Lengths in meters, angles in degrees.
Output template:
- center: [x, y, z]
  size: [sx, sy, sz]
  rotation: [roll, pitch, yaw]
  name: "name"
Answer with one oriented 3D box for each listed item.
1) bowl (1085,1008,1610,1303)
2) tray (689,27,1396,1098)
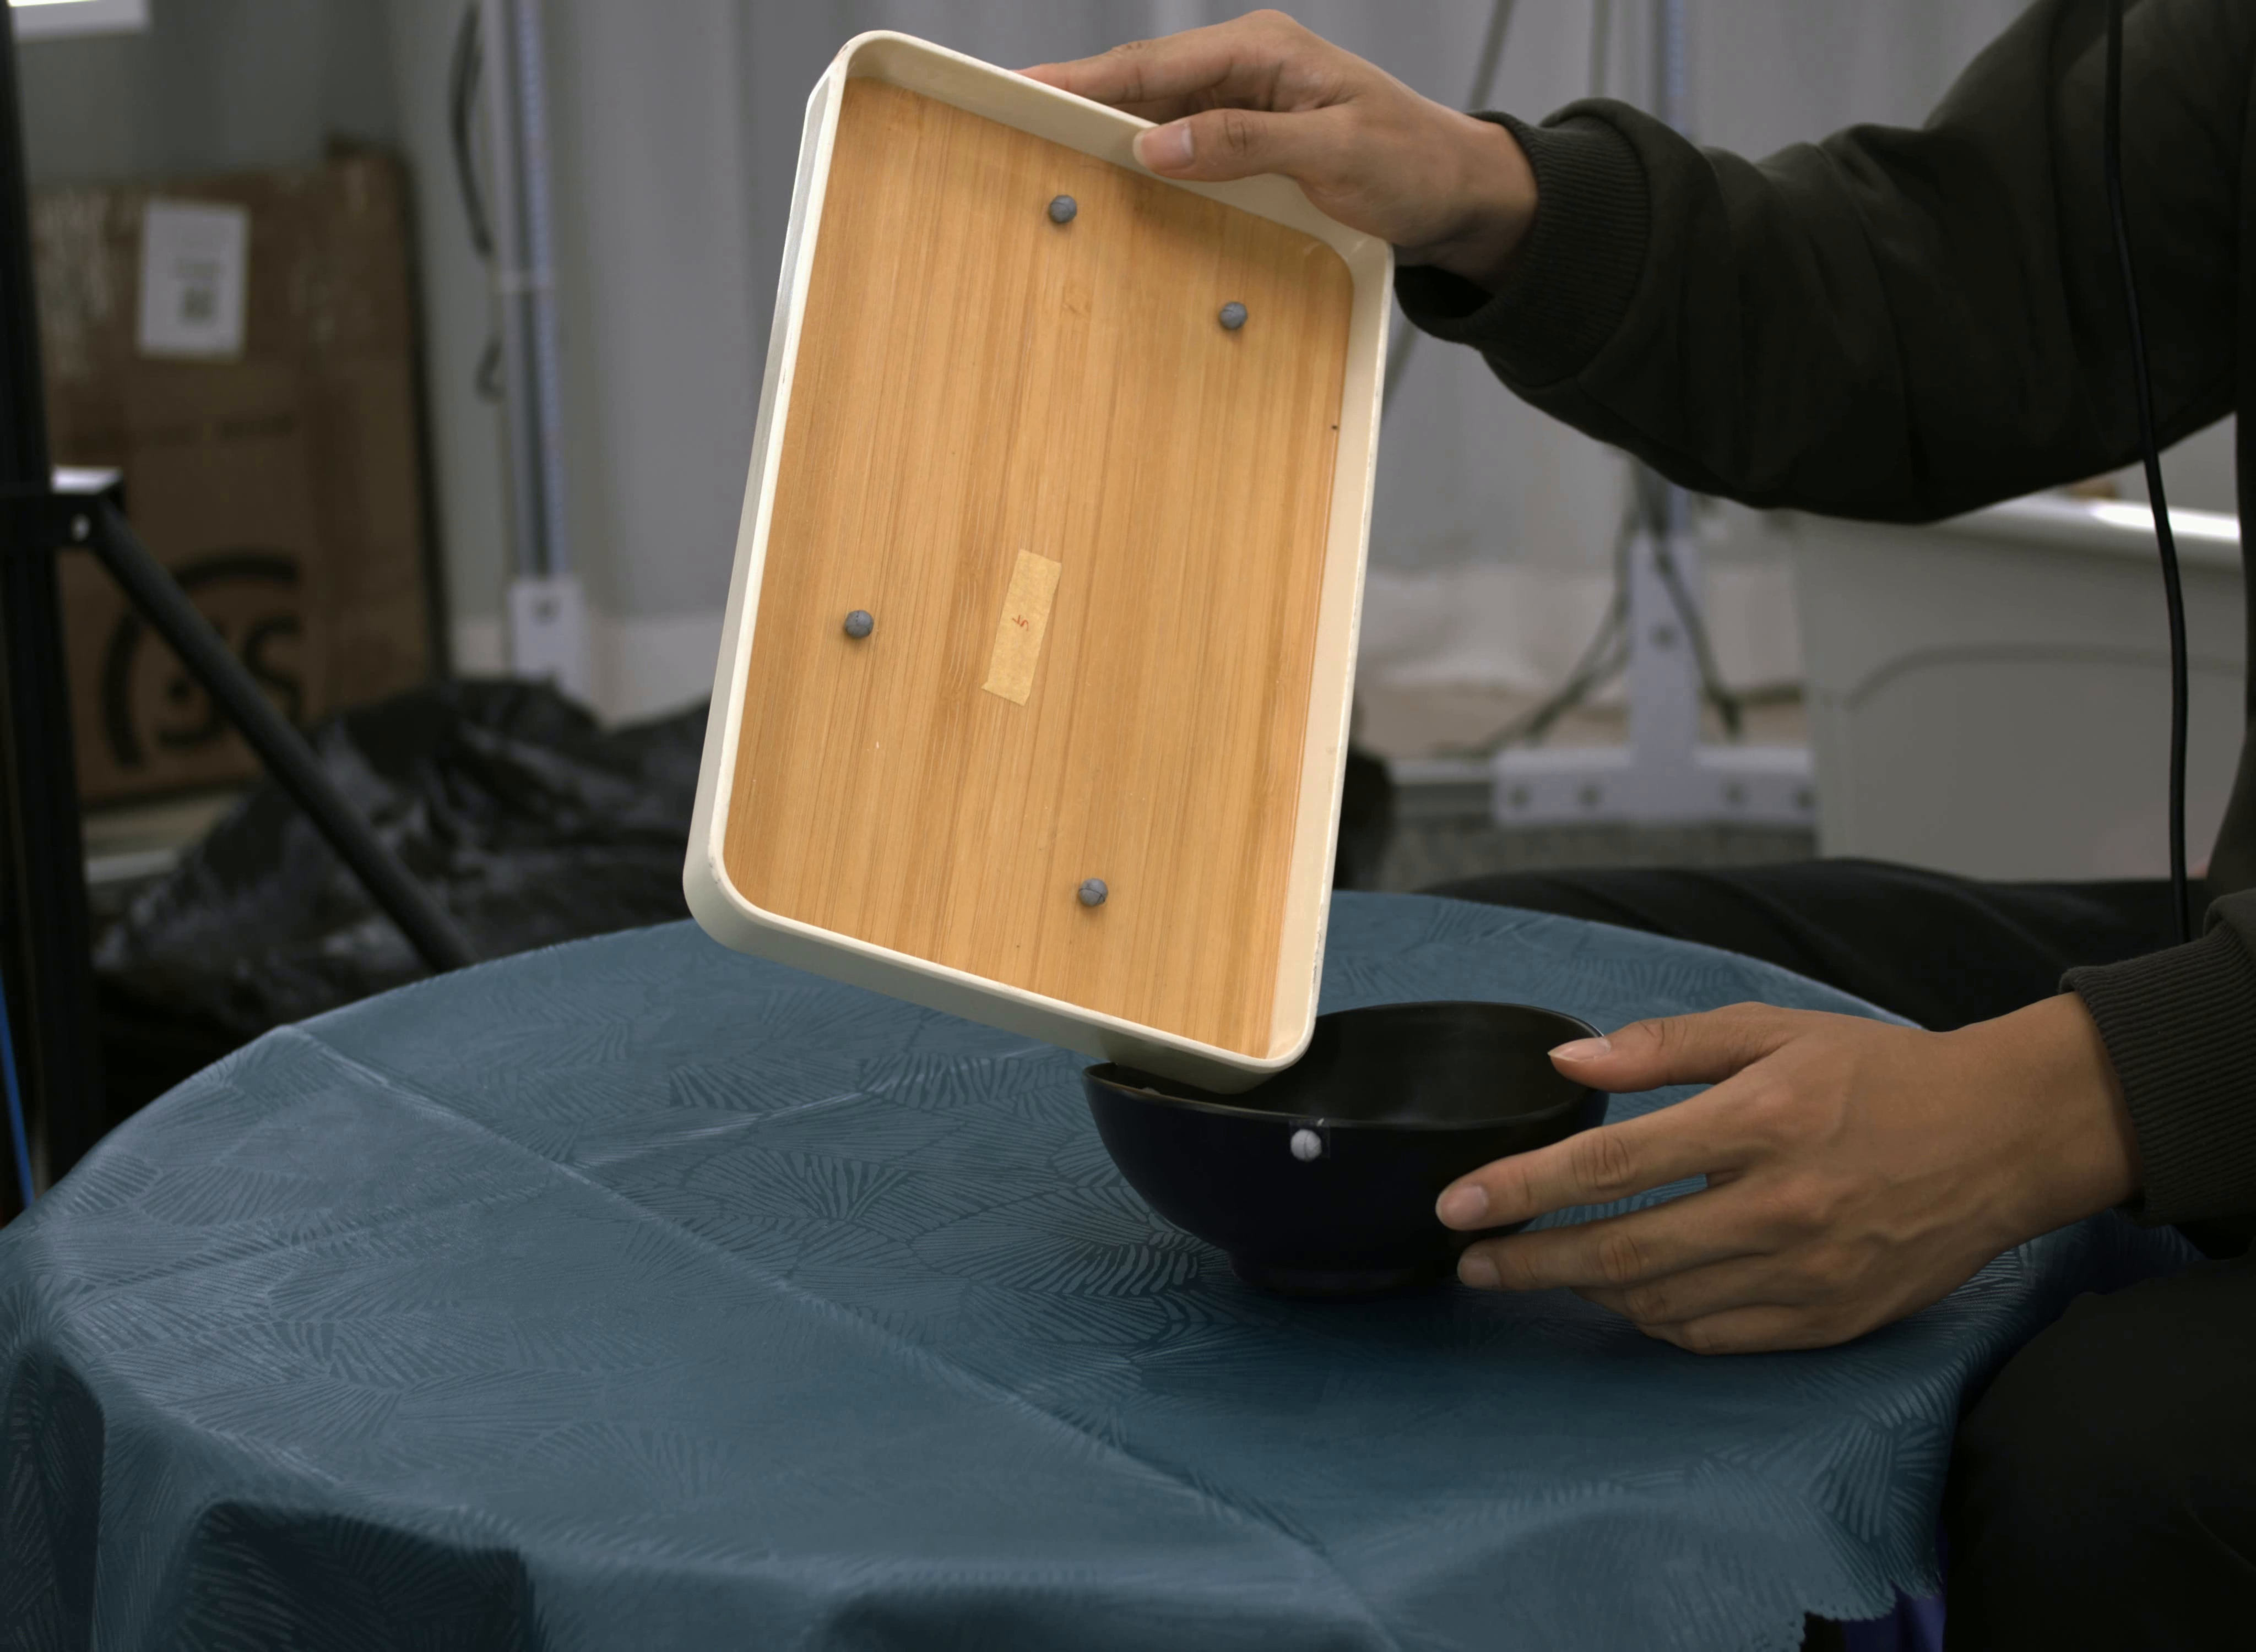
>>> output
- center: [0.061, 0.094, 1.478]
  size: [0.134, 0.067, 0.174]
  rotation: [-10, 10, -33]
  name: "bowl"
- center: [-0.020, -0.080, 1.571]
  size: [0.188, 0.302, 0.027]
  rotation: [17, -29, -17]
  name: "tray"
